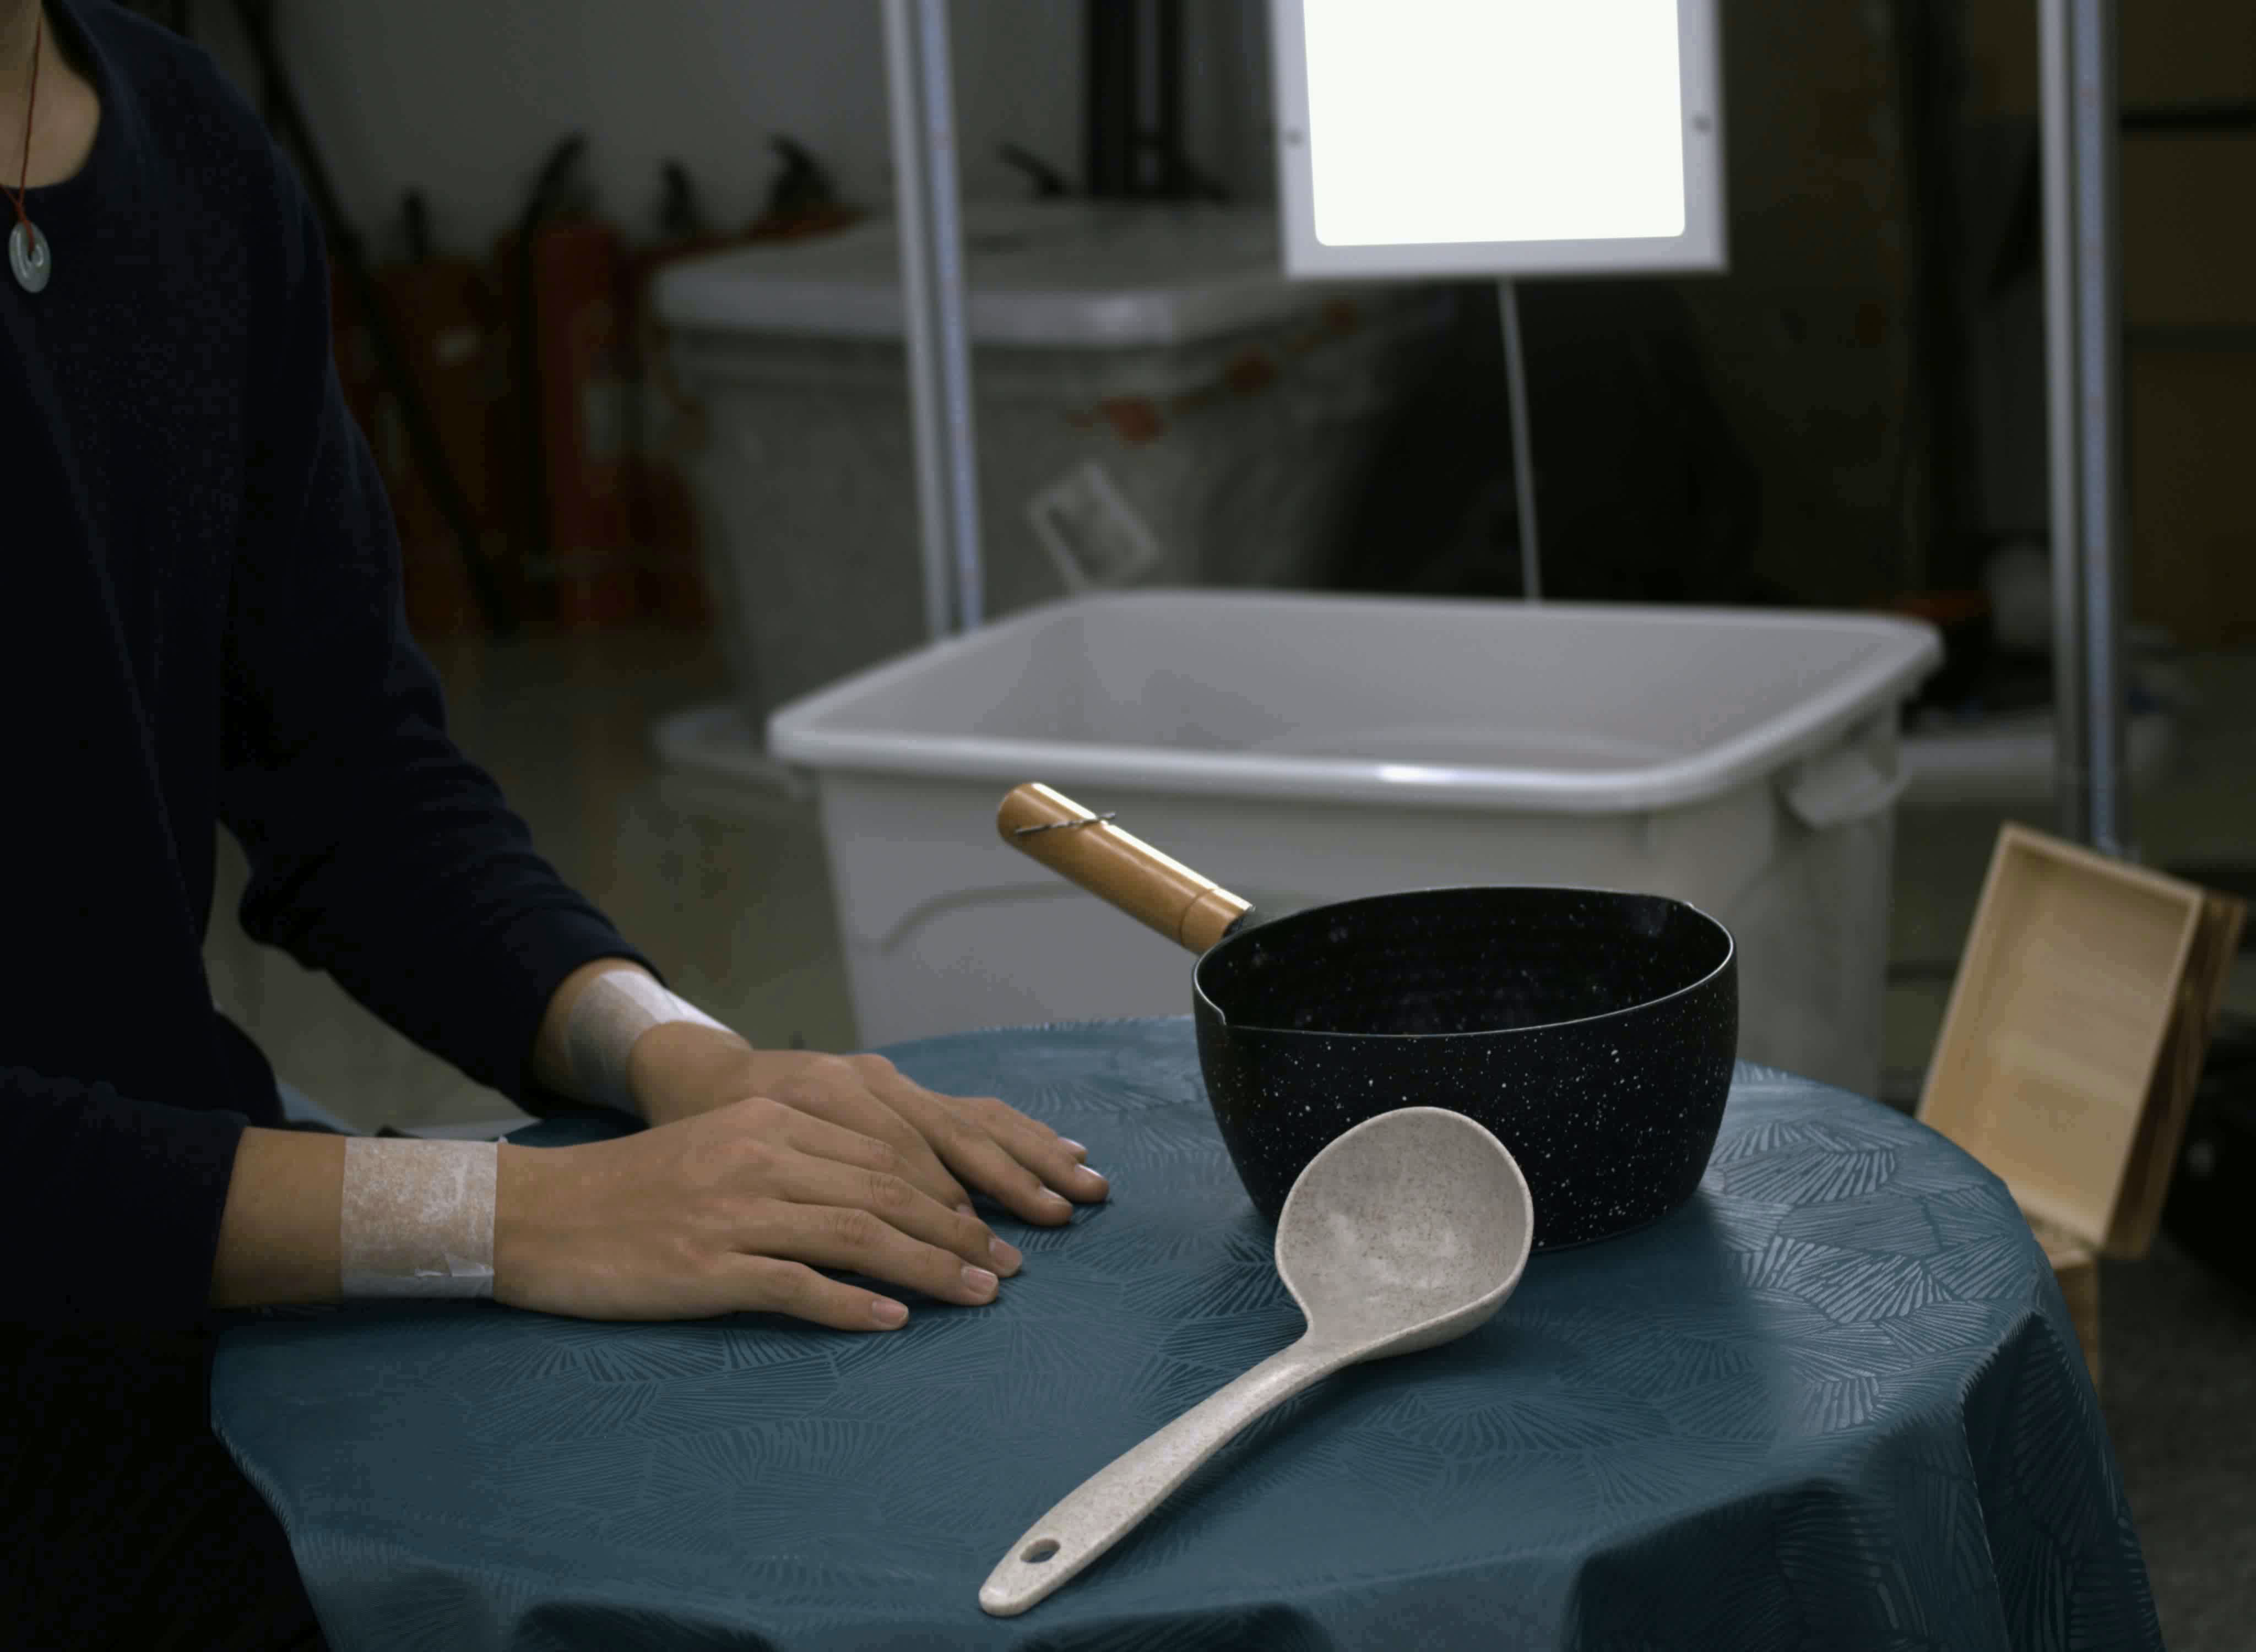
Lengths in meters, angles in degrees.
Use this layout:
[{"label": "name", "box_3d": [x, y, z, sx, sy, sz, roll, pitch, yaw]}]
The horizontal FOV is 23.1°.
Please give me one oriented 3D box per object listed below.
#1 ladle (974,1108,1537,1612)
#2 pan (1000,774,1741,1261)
[{"label": "ladle", "box_3d": [0.032, 0.153, 1.632, 0.091, 0.070, 0.268, 9, 19, 31]}, {"label": "pan", "box_3d": [0.065, 0.061, 1.912, 0.202, 0.108, 0.350, -17, 19, -35]}]
